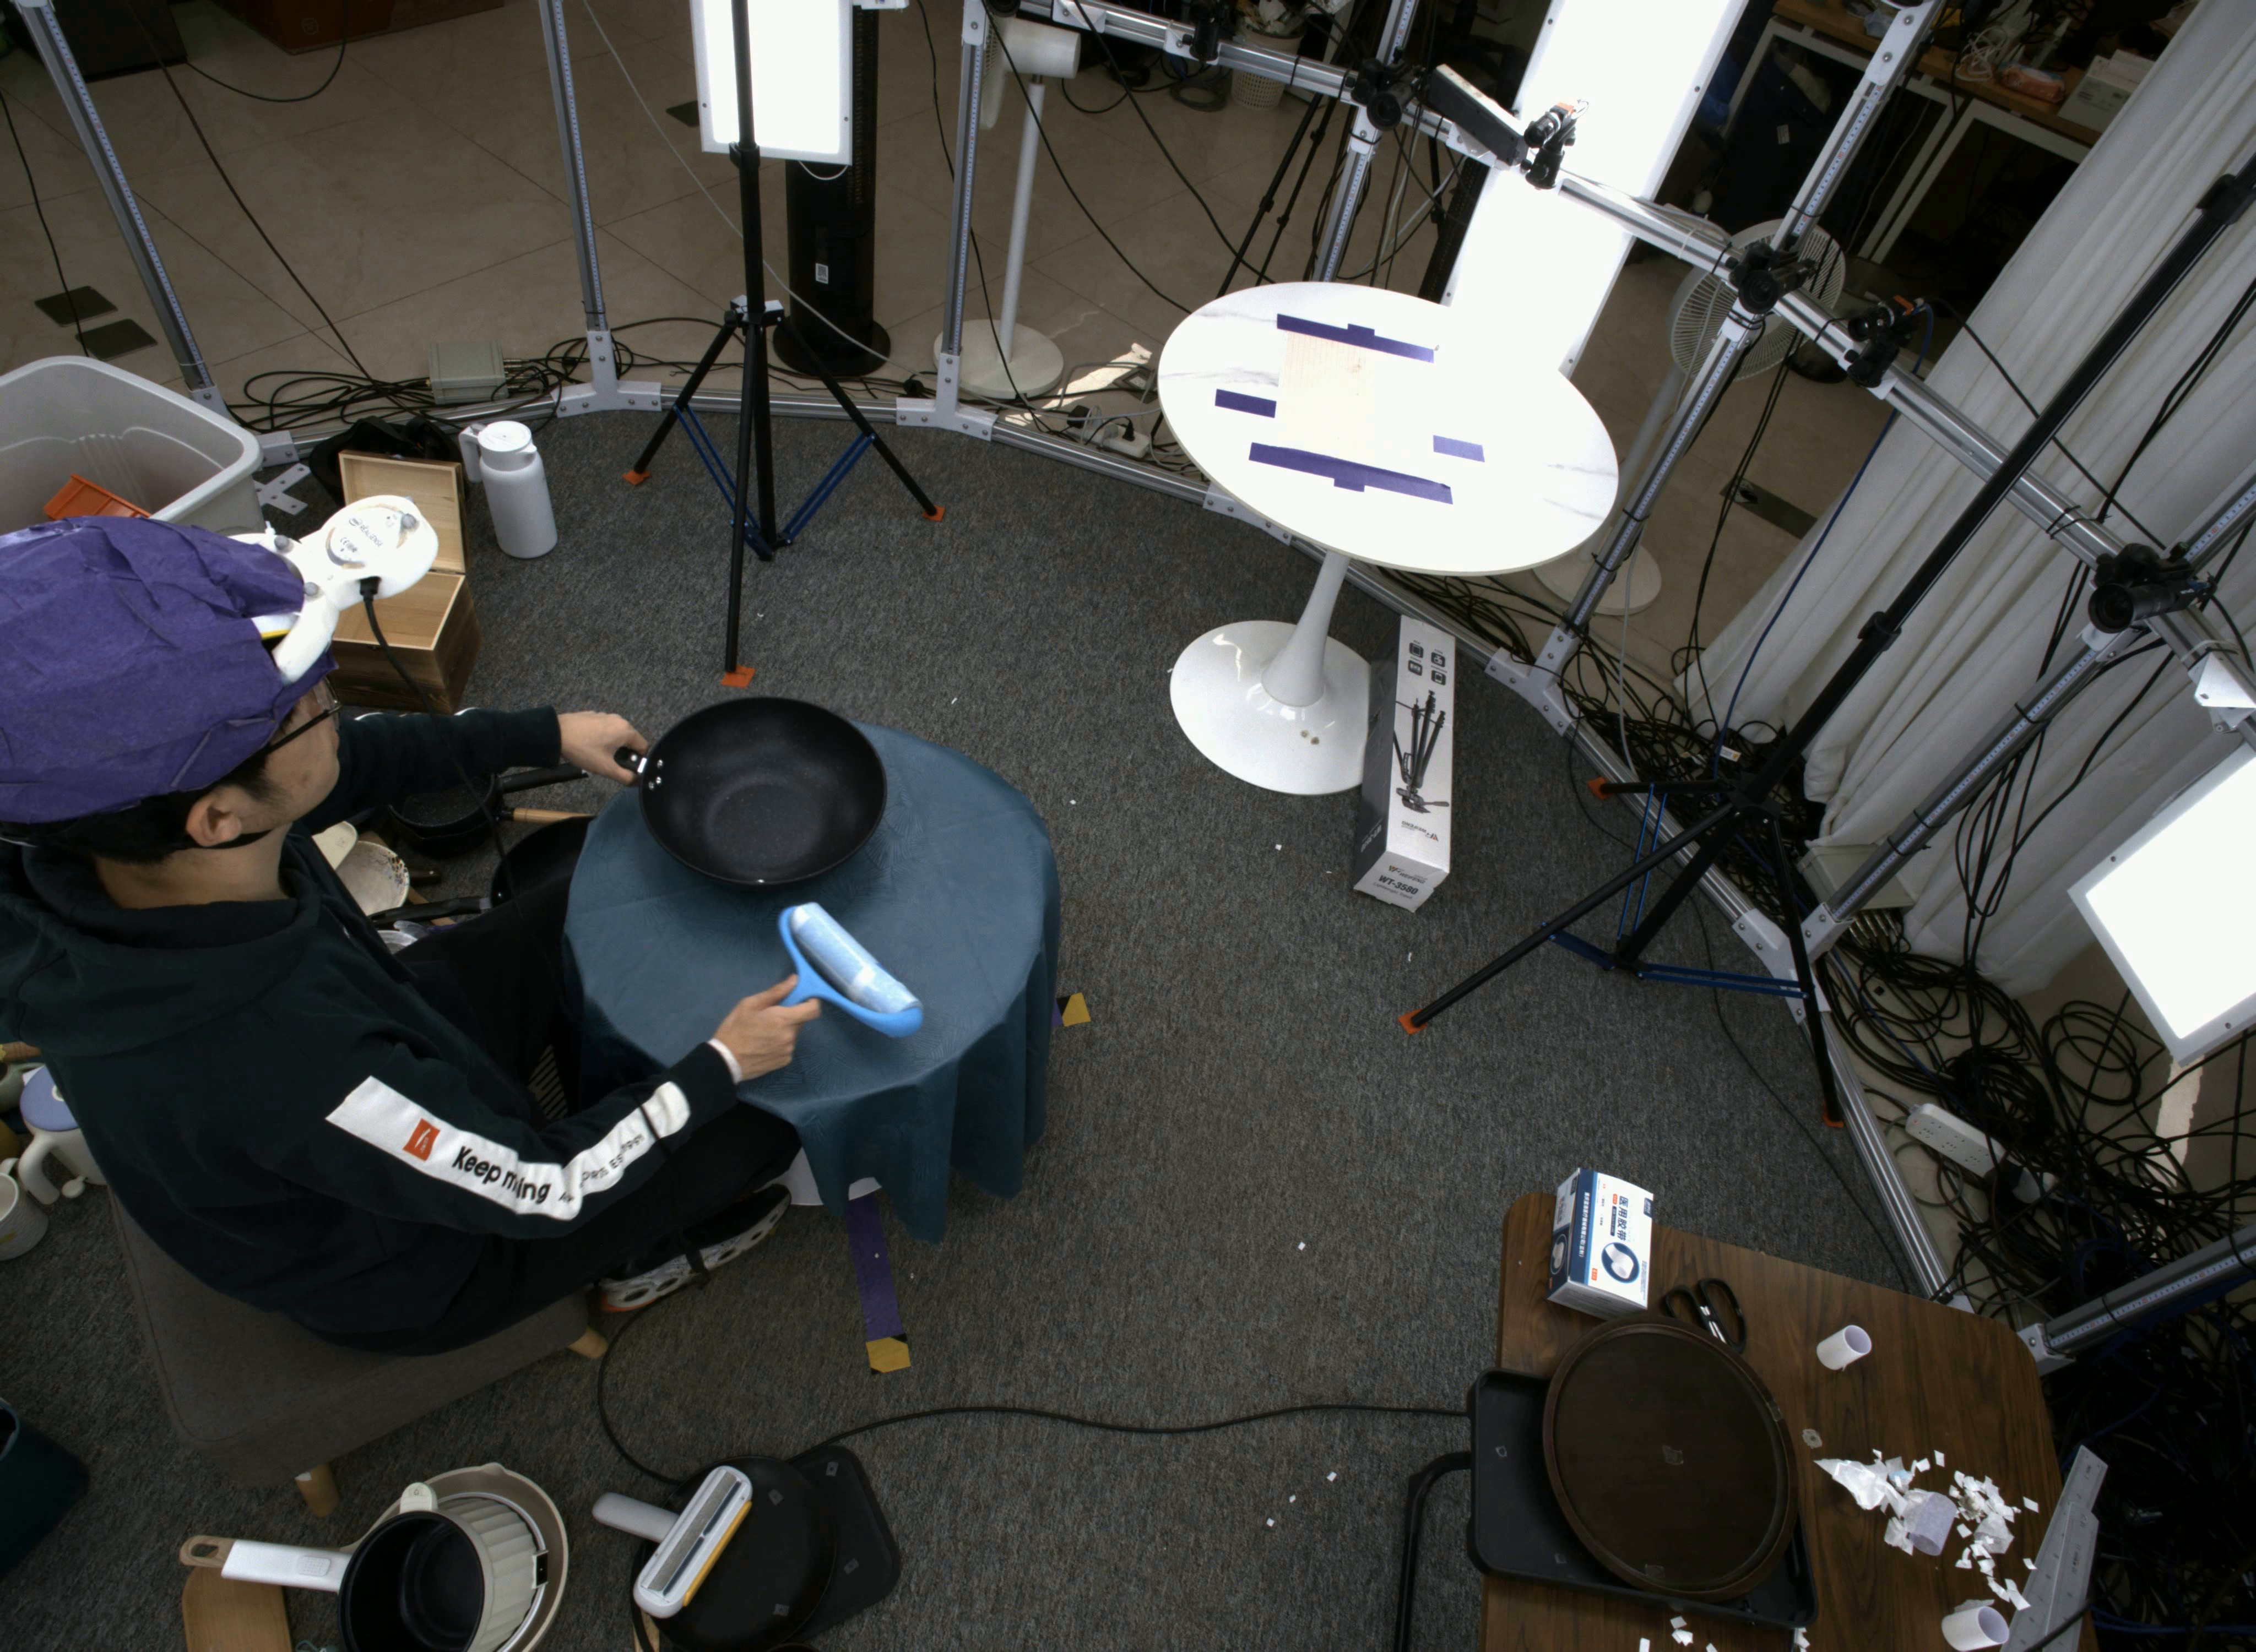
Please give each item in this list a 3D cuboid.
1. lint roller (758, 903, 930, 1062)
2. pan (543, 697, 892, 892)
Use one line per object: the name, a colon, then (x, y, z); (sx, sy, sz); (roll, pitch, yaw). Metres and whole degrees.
lint roller: (-0.359, 0.199, 1.518); (0.224, 0.069, 0.180); (37, 56, 16)
pan: (-0.544, -0.051, 1.666); (0.476, 0.114, 0.305); (12, 51, -7)
